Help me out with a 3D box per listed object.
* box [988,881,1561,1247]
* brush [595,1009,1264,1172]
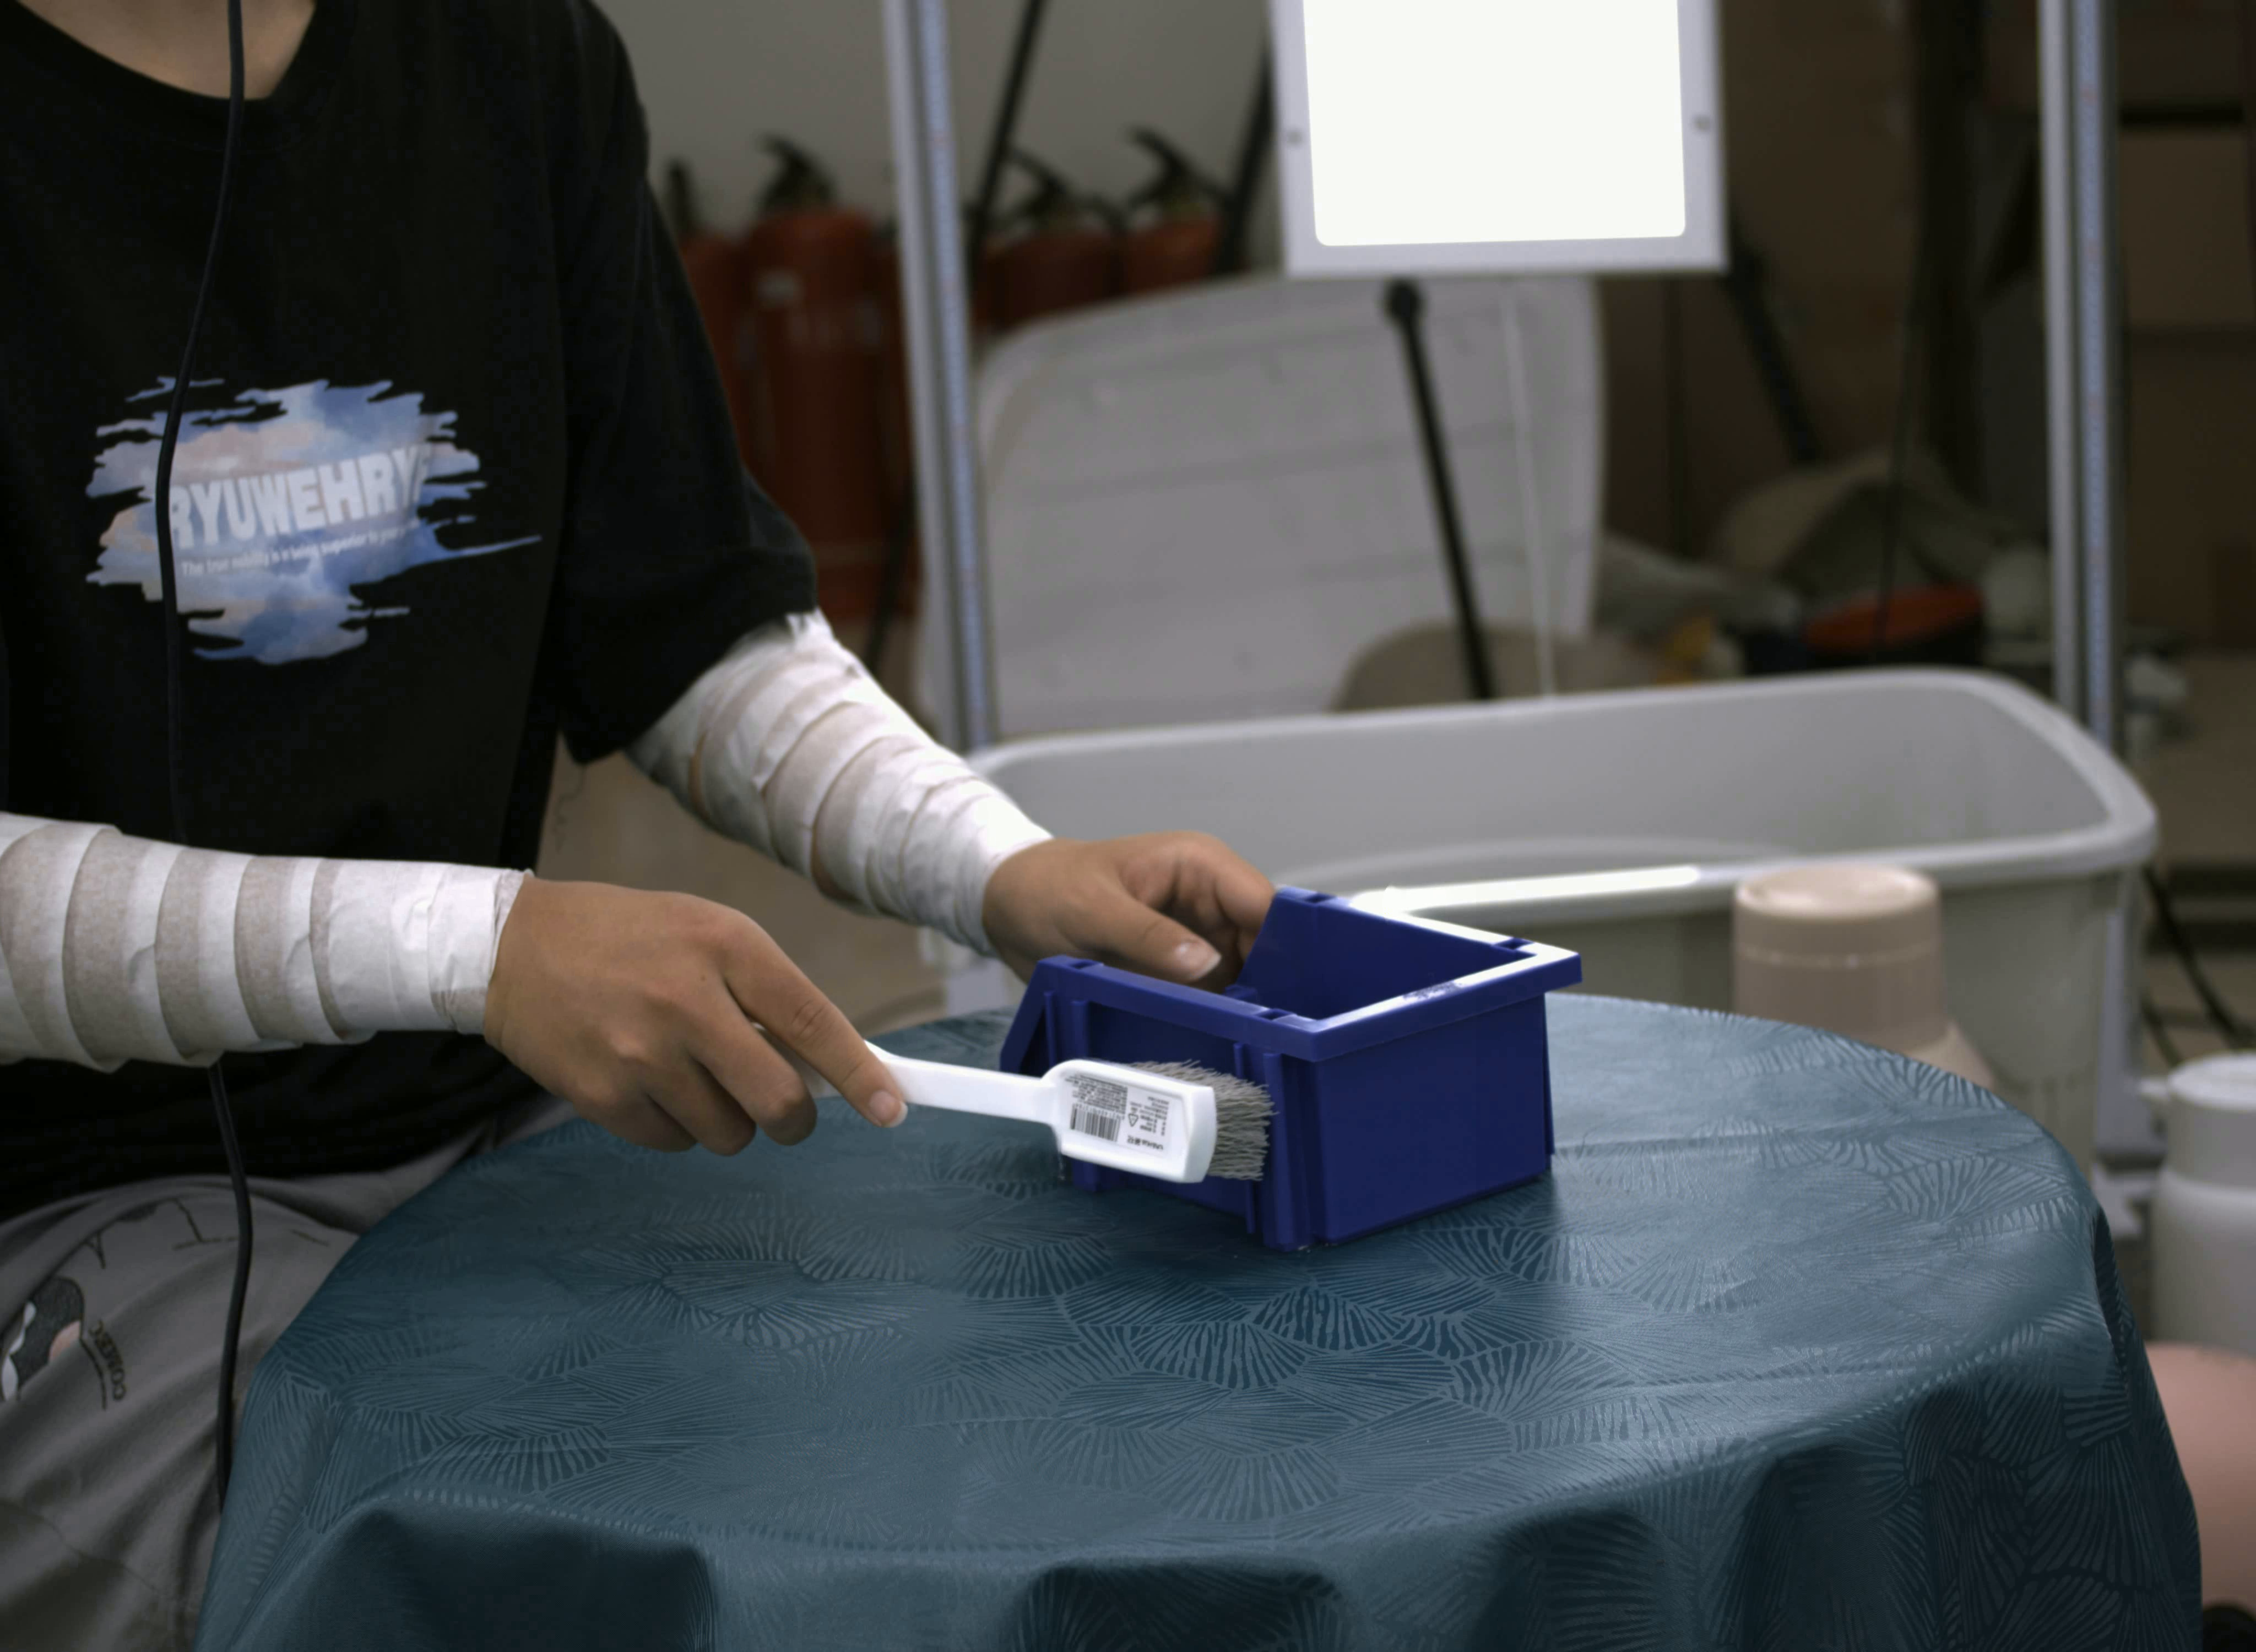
[{"bbox_3d":[0.047,0.079,1.903,0.121,0.082,0.183,-14,18,-33],"label":"box"},{"bbox_3d":[-0.067,0.086,1.851,0.248,0.034,0.049,6,1,29],"label":"brush"}]
